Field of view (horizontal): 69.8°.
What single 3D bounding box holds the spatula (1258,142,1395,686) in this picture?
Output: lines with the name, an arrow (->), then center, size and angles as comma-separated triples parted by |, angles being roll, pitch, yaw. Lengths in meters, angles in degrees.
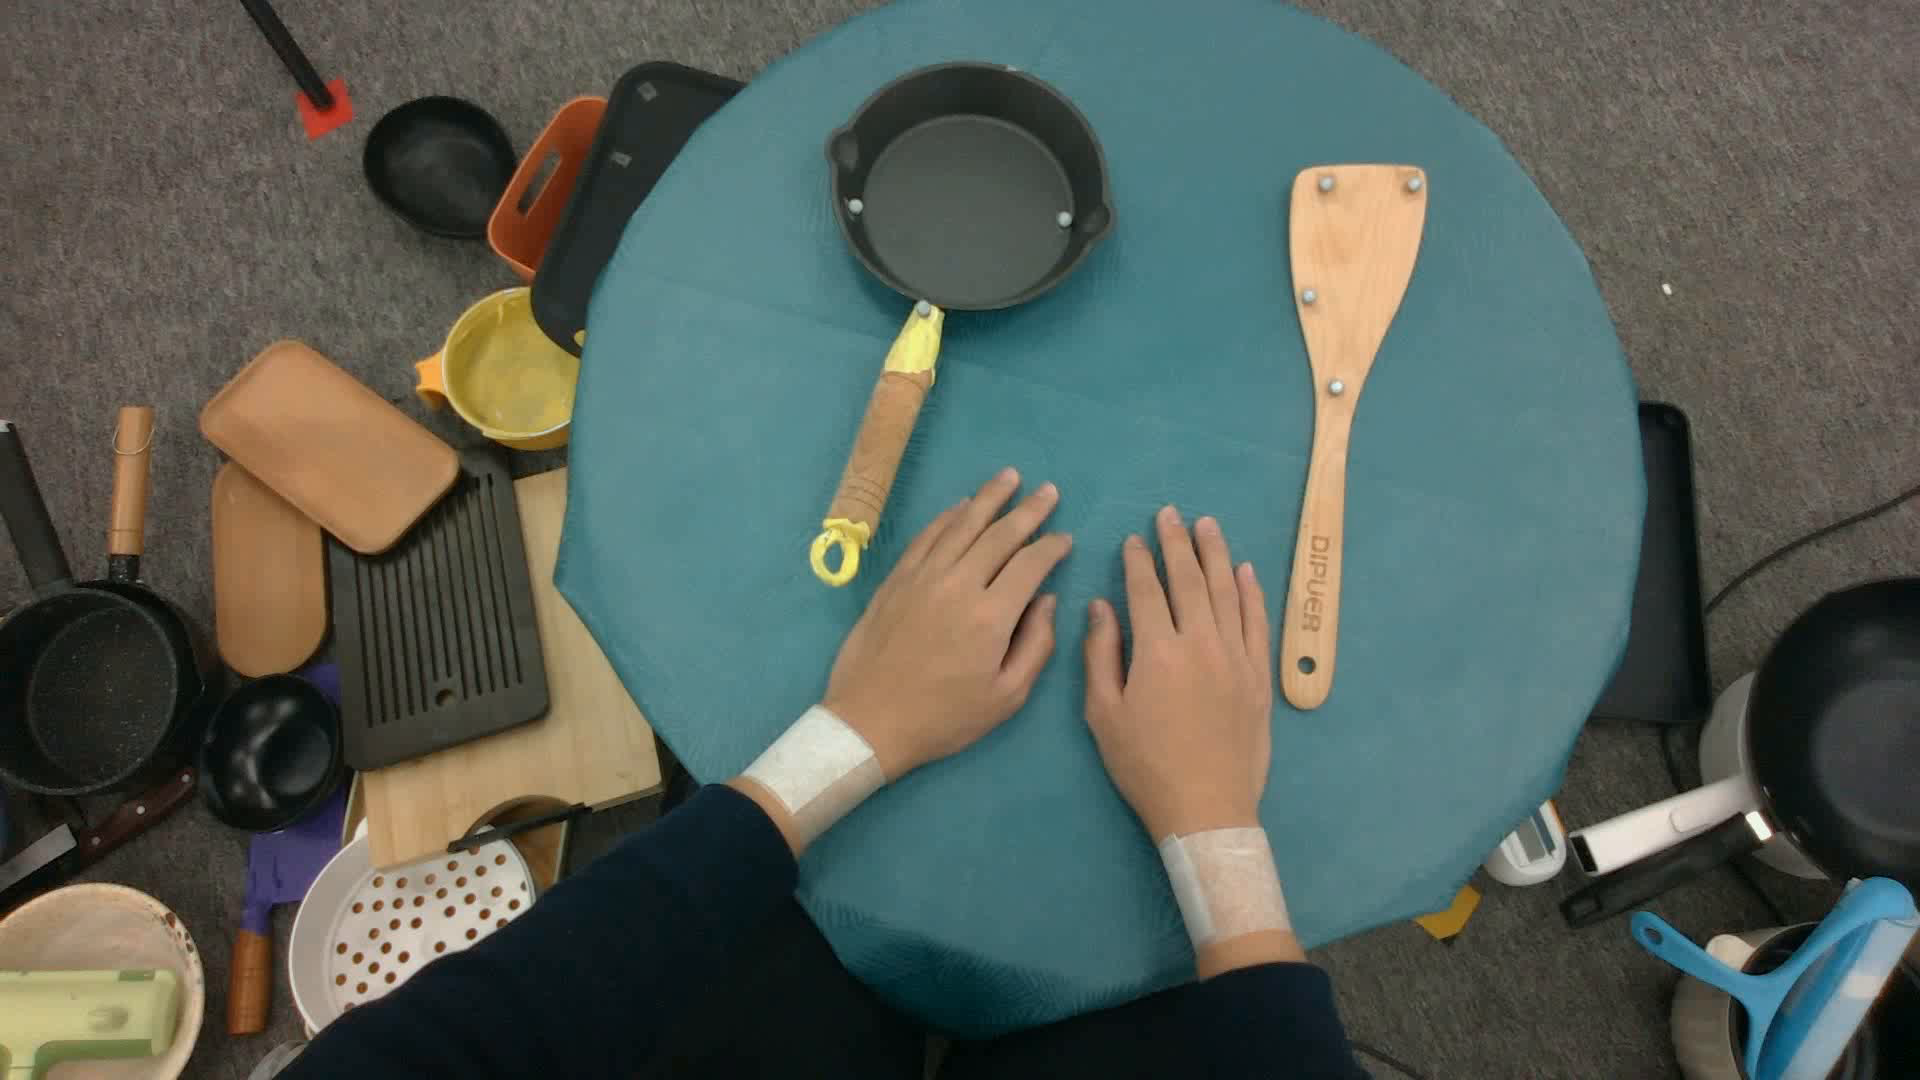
spatula -> 0.195, -0.080, 0.769 | 0.080, 0.016, 0.328 | 8, 73, 1

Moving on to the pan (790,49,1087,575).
pan -> -0.035, -0.129, 0.754 | 0.169, 0.049, 0.325 | 17, 72, 2
